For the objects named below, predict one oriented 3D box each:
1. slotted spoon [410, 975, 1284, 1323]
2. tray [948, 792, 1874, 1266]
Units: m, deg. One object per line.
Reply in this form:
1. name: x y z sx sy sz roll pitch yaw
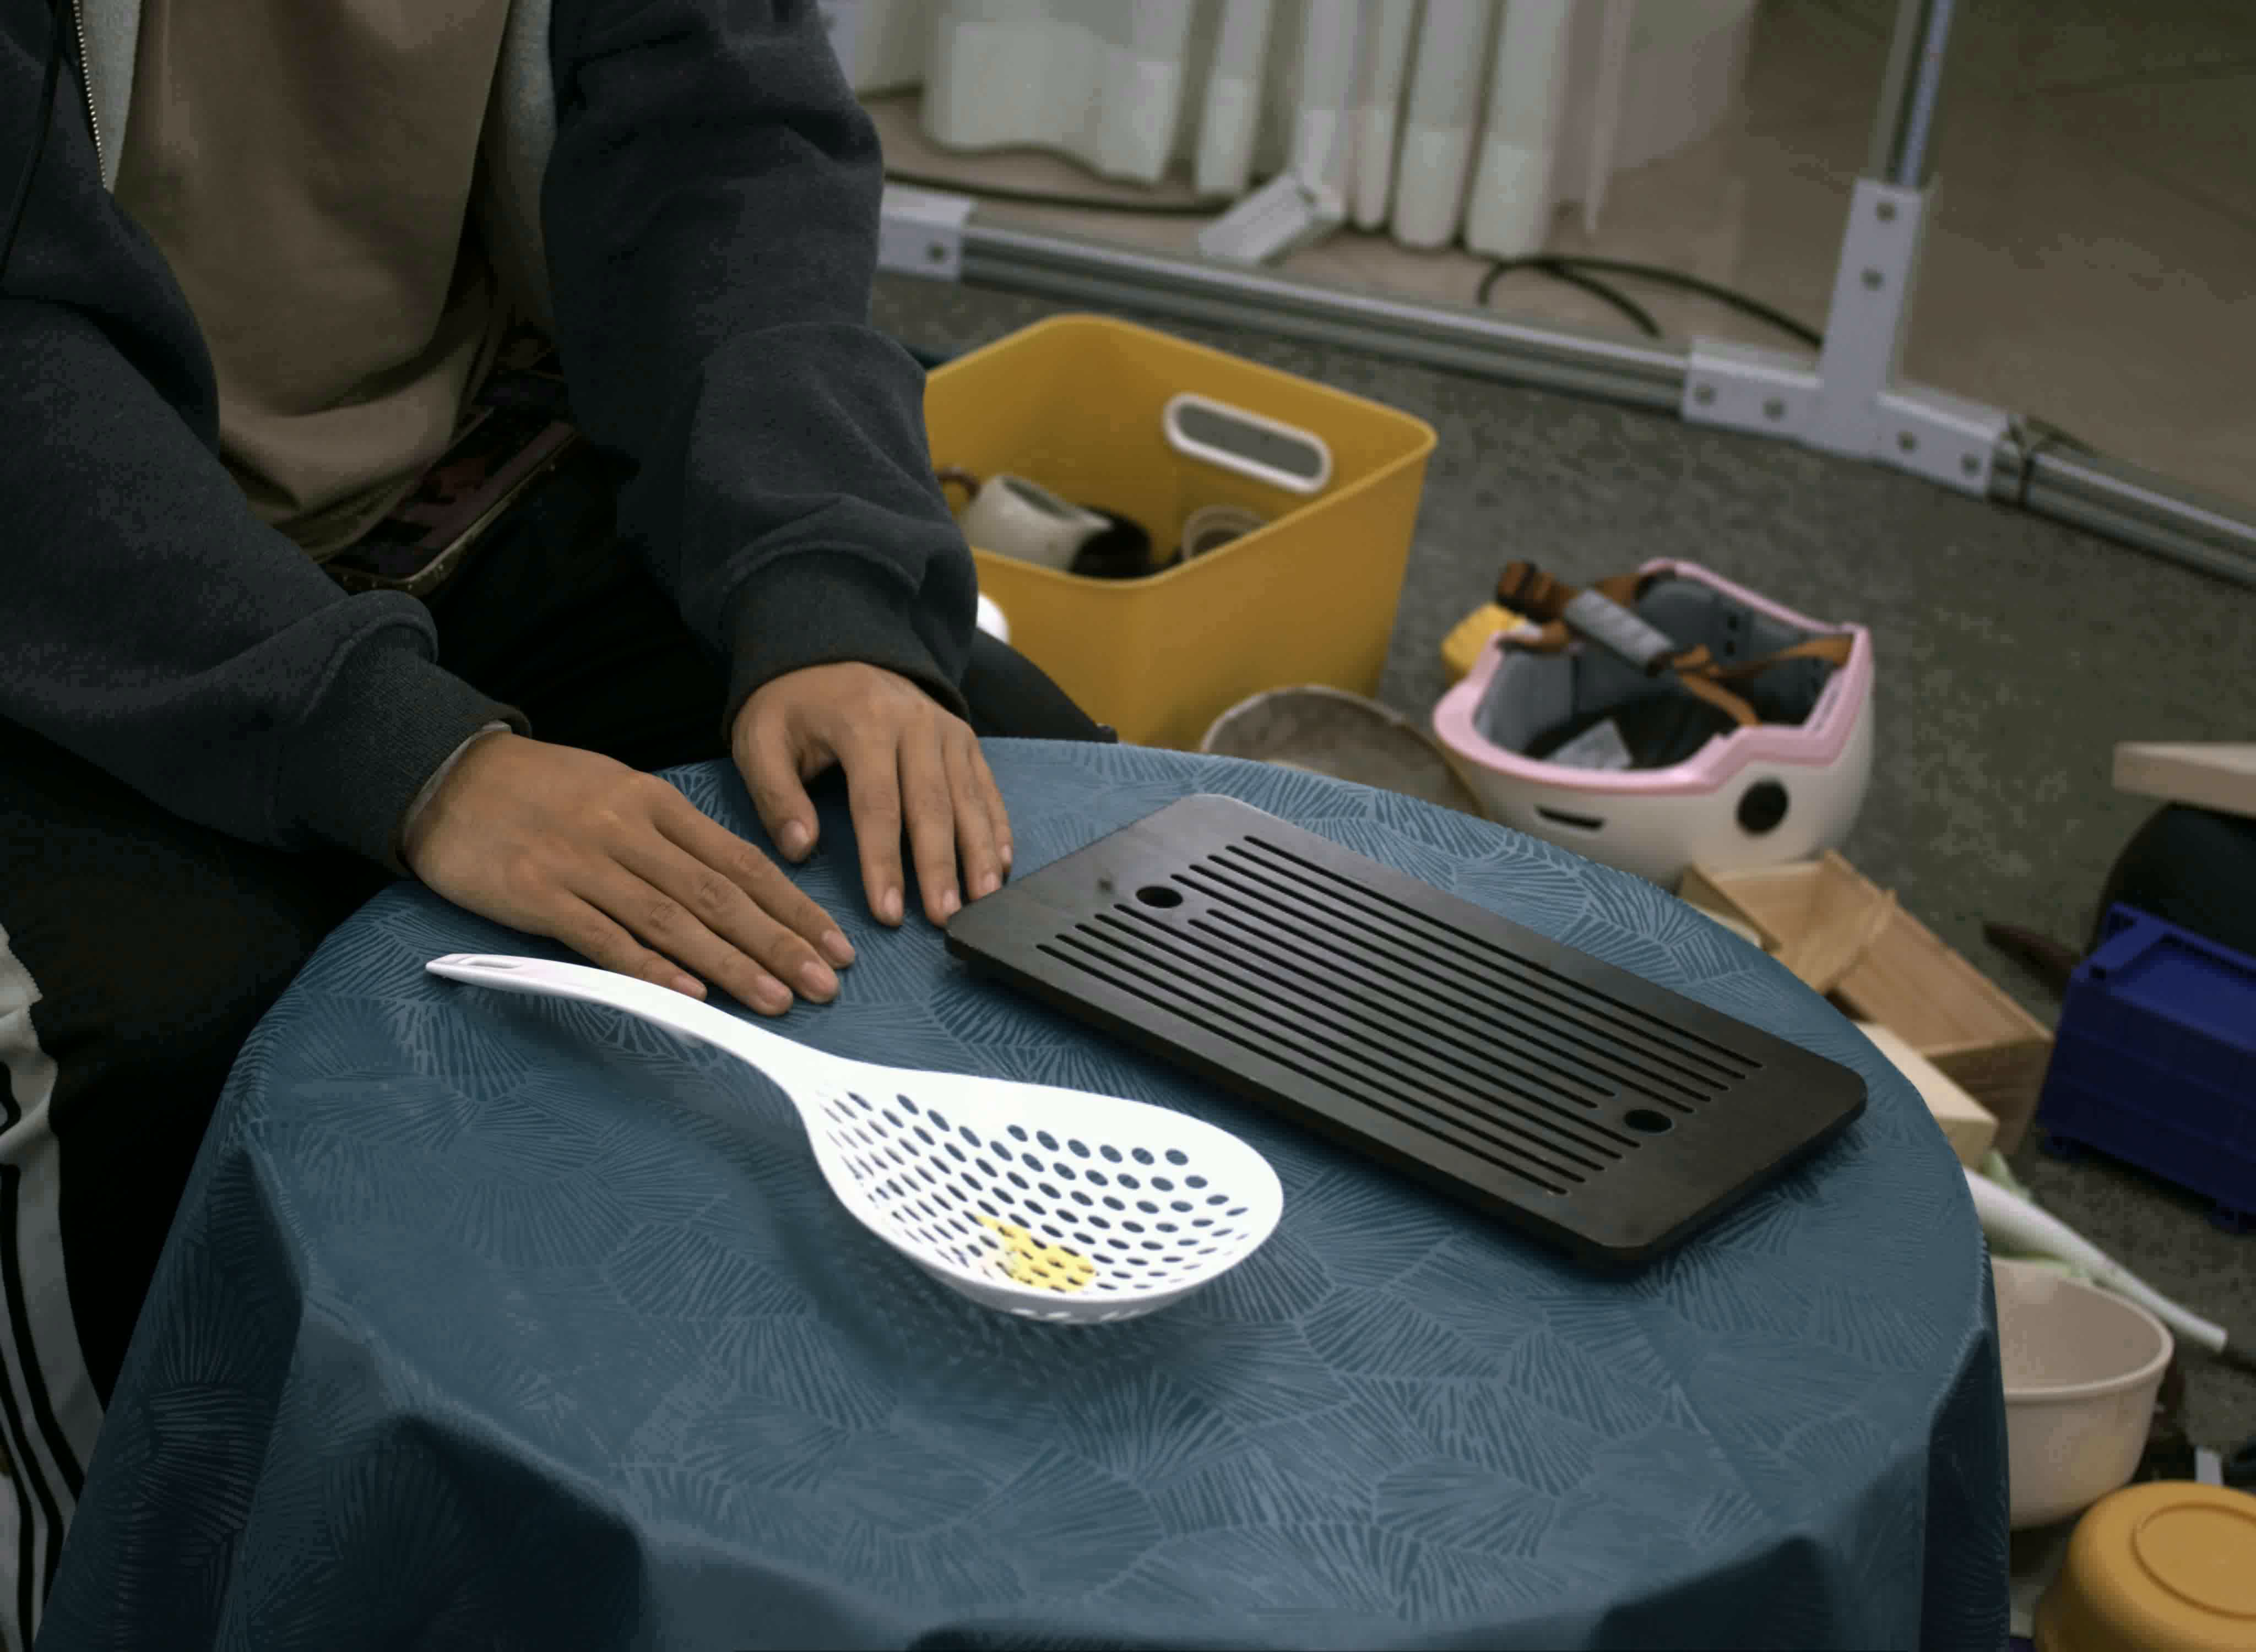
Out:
1. slotted spoon: -0.106 0.094 1.789 0.350 0.050 0.136 24 34 31
2. tray: 0.099 0.070 1.910 0.308 0.018 0.169 24 32 31
